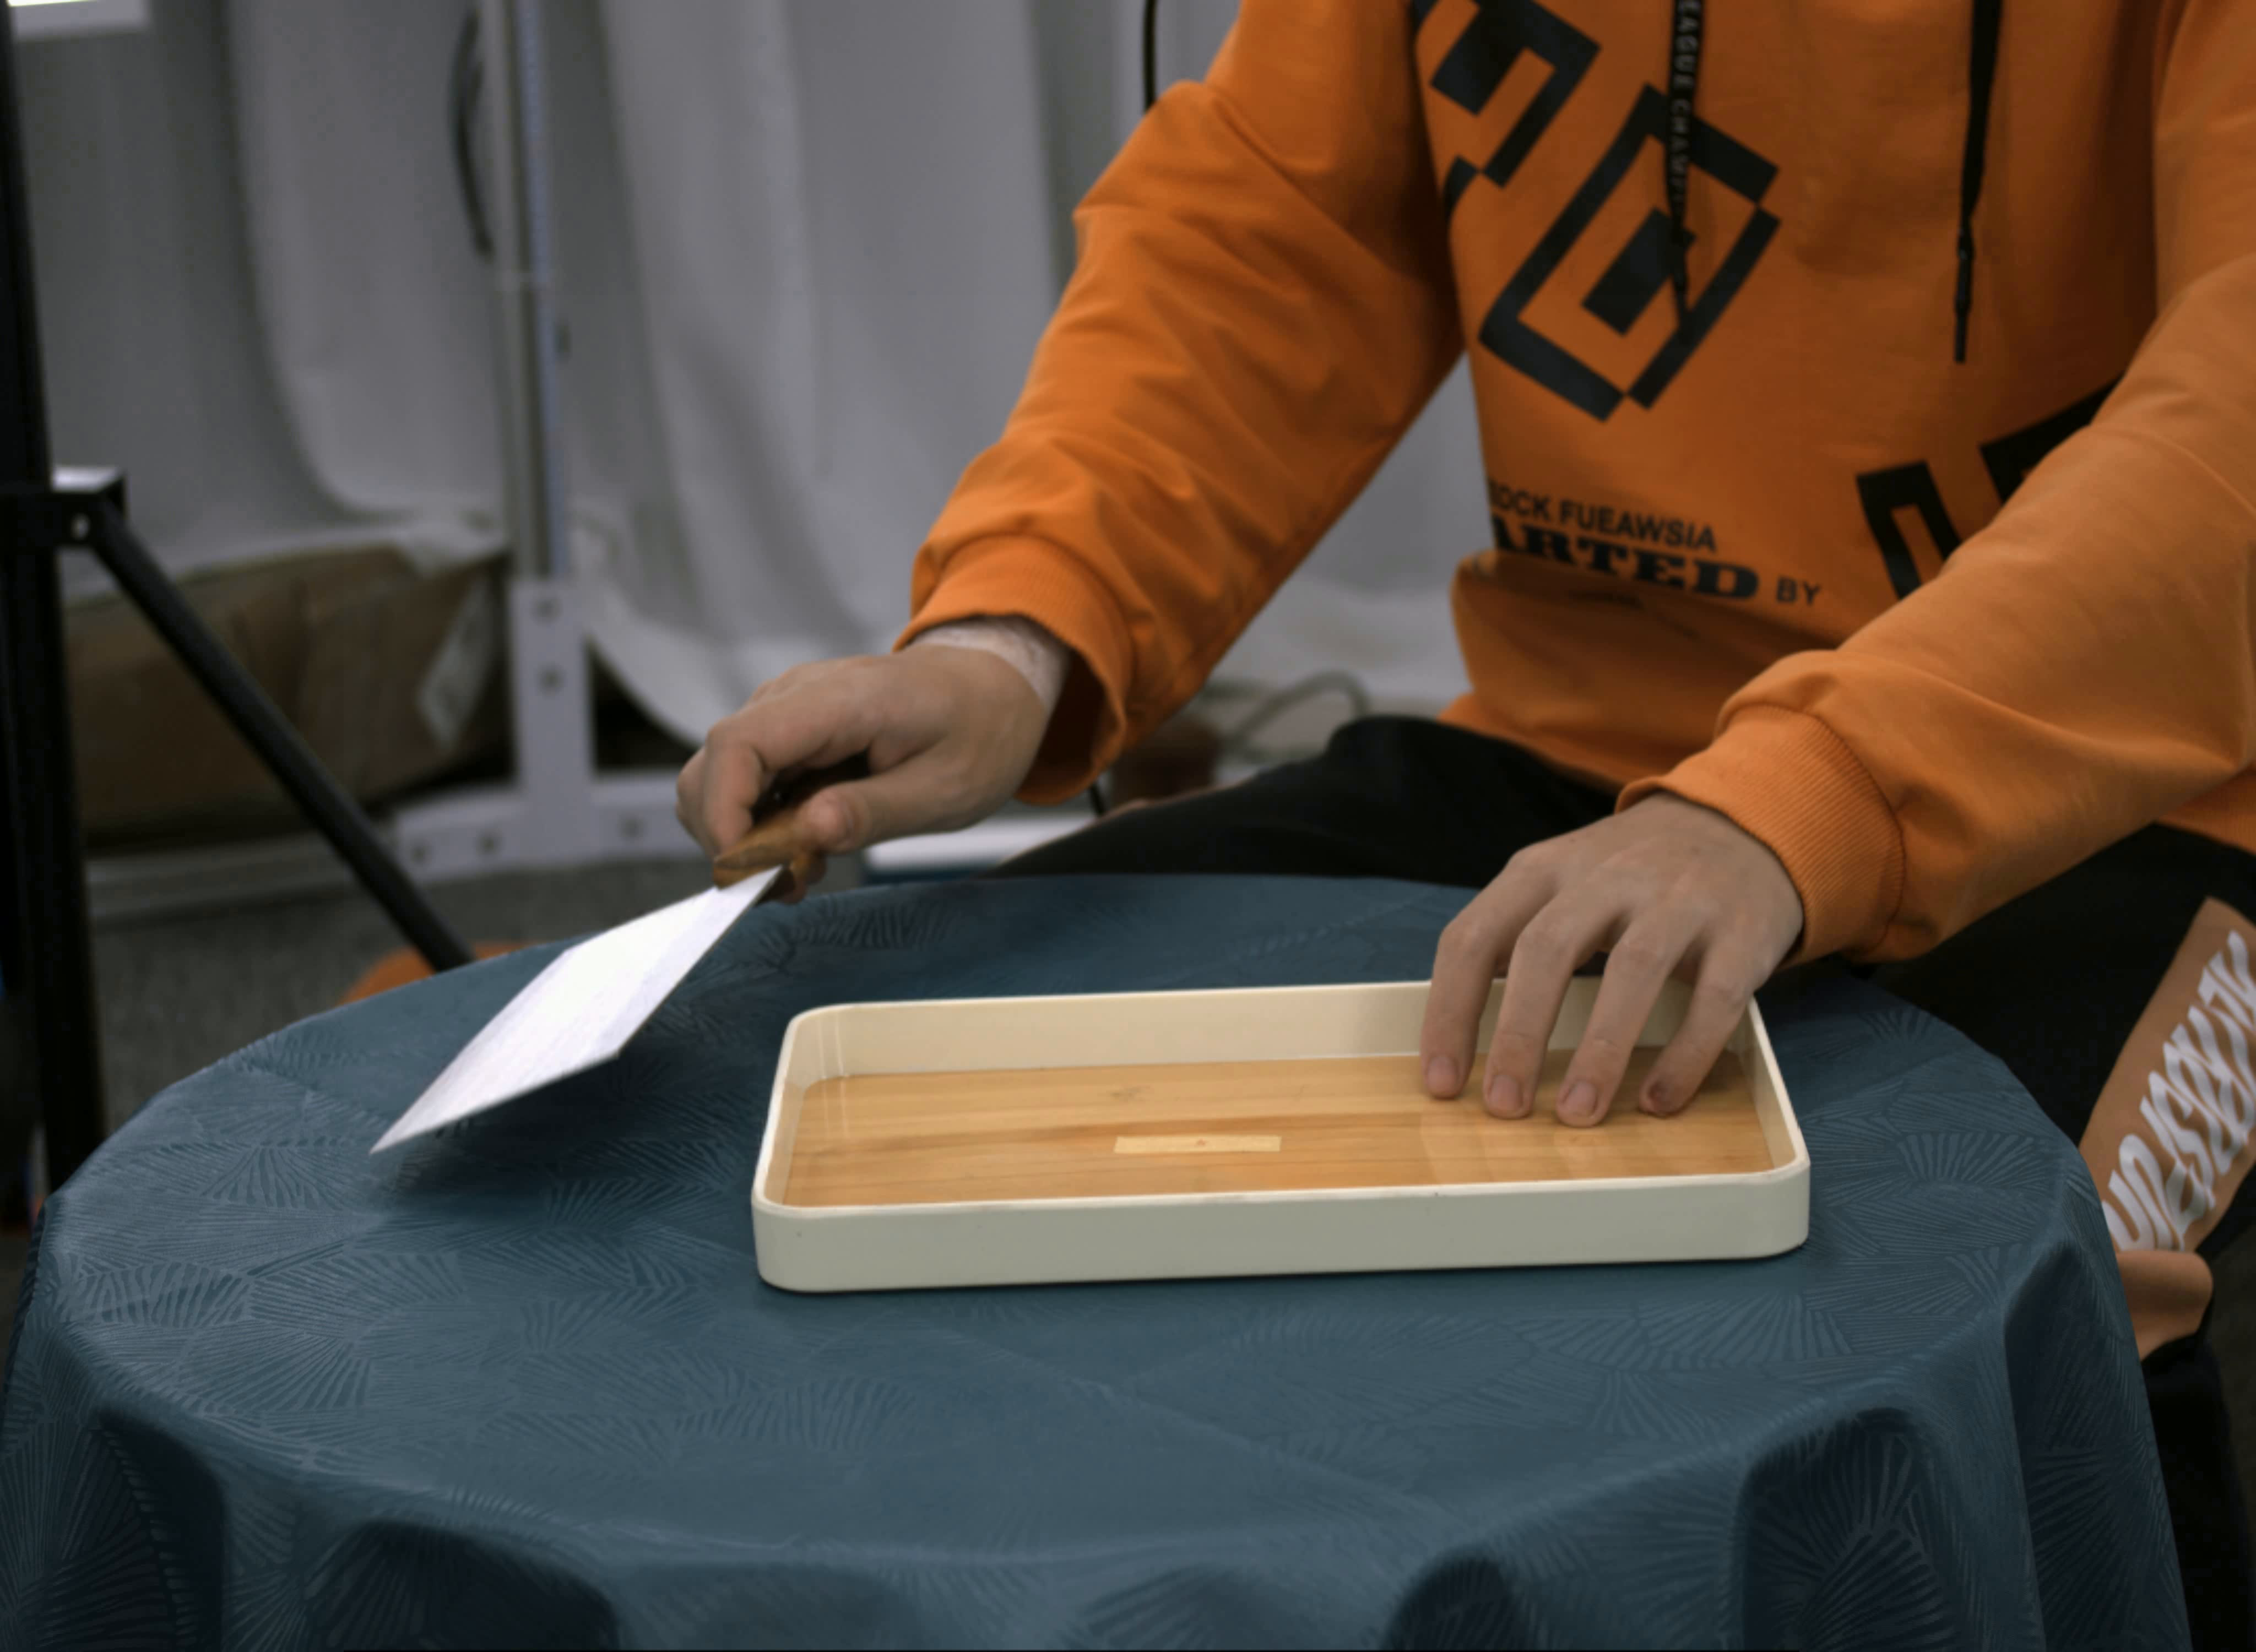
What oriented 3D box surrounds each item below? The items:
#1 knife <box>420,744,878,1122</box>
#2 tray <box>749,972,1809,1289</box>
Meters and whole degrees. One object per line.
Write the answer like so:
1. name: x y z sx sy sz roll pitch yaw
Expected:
1. knife: -0.153 0.035 1.712 0.094 0.021 0.304 -24 10 19
2. tray: 0.043 0.089 1.568 0.299 0.027 0.192 -2 16 3
